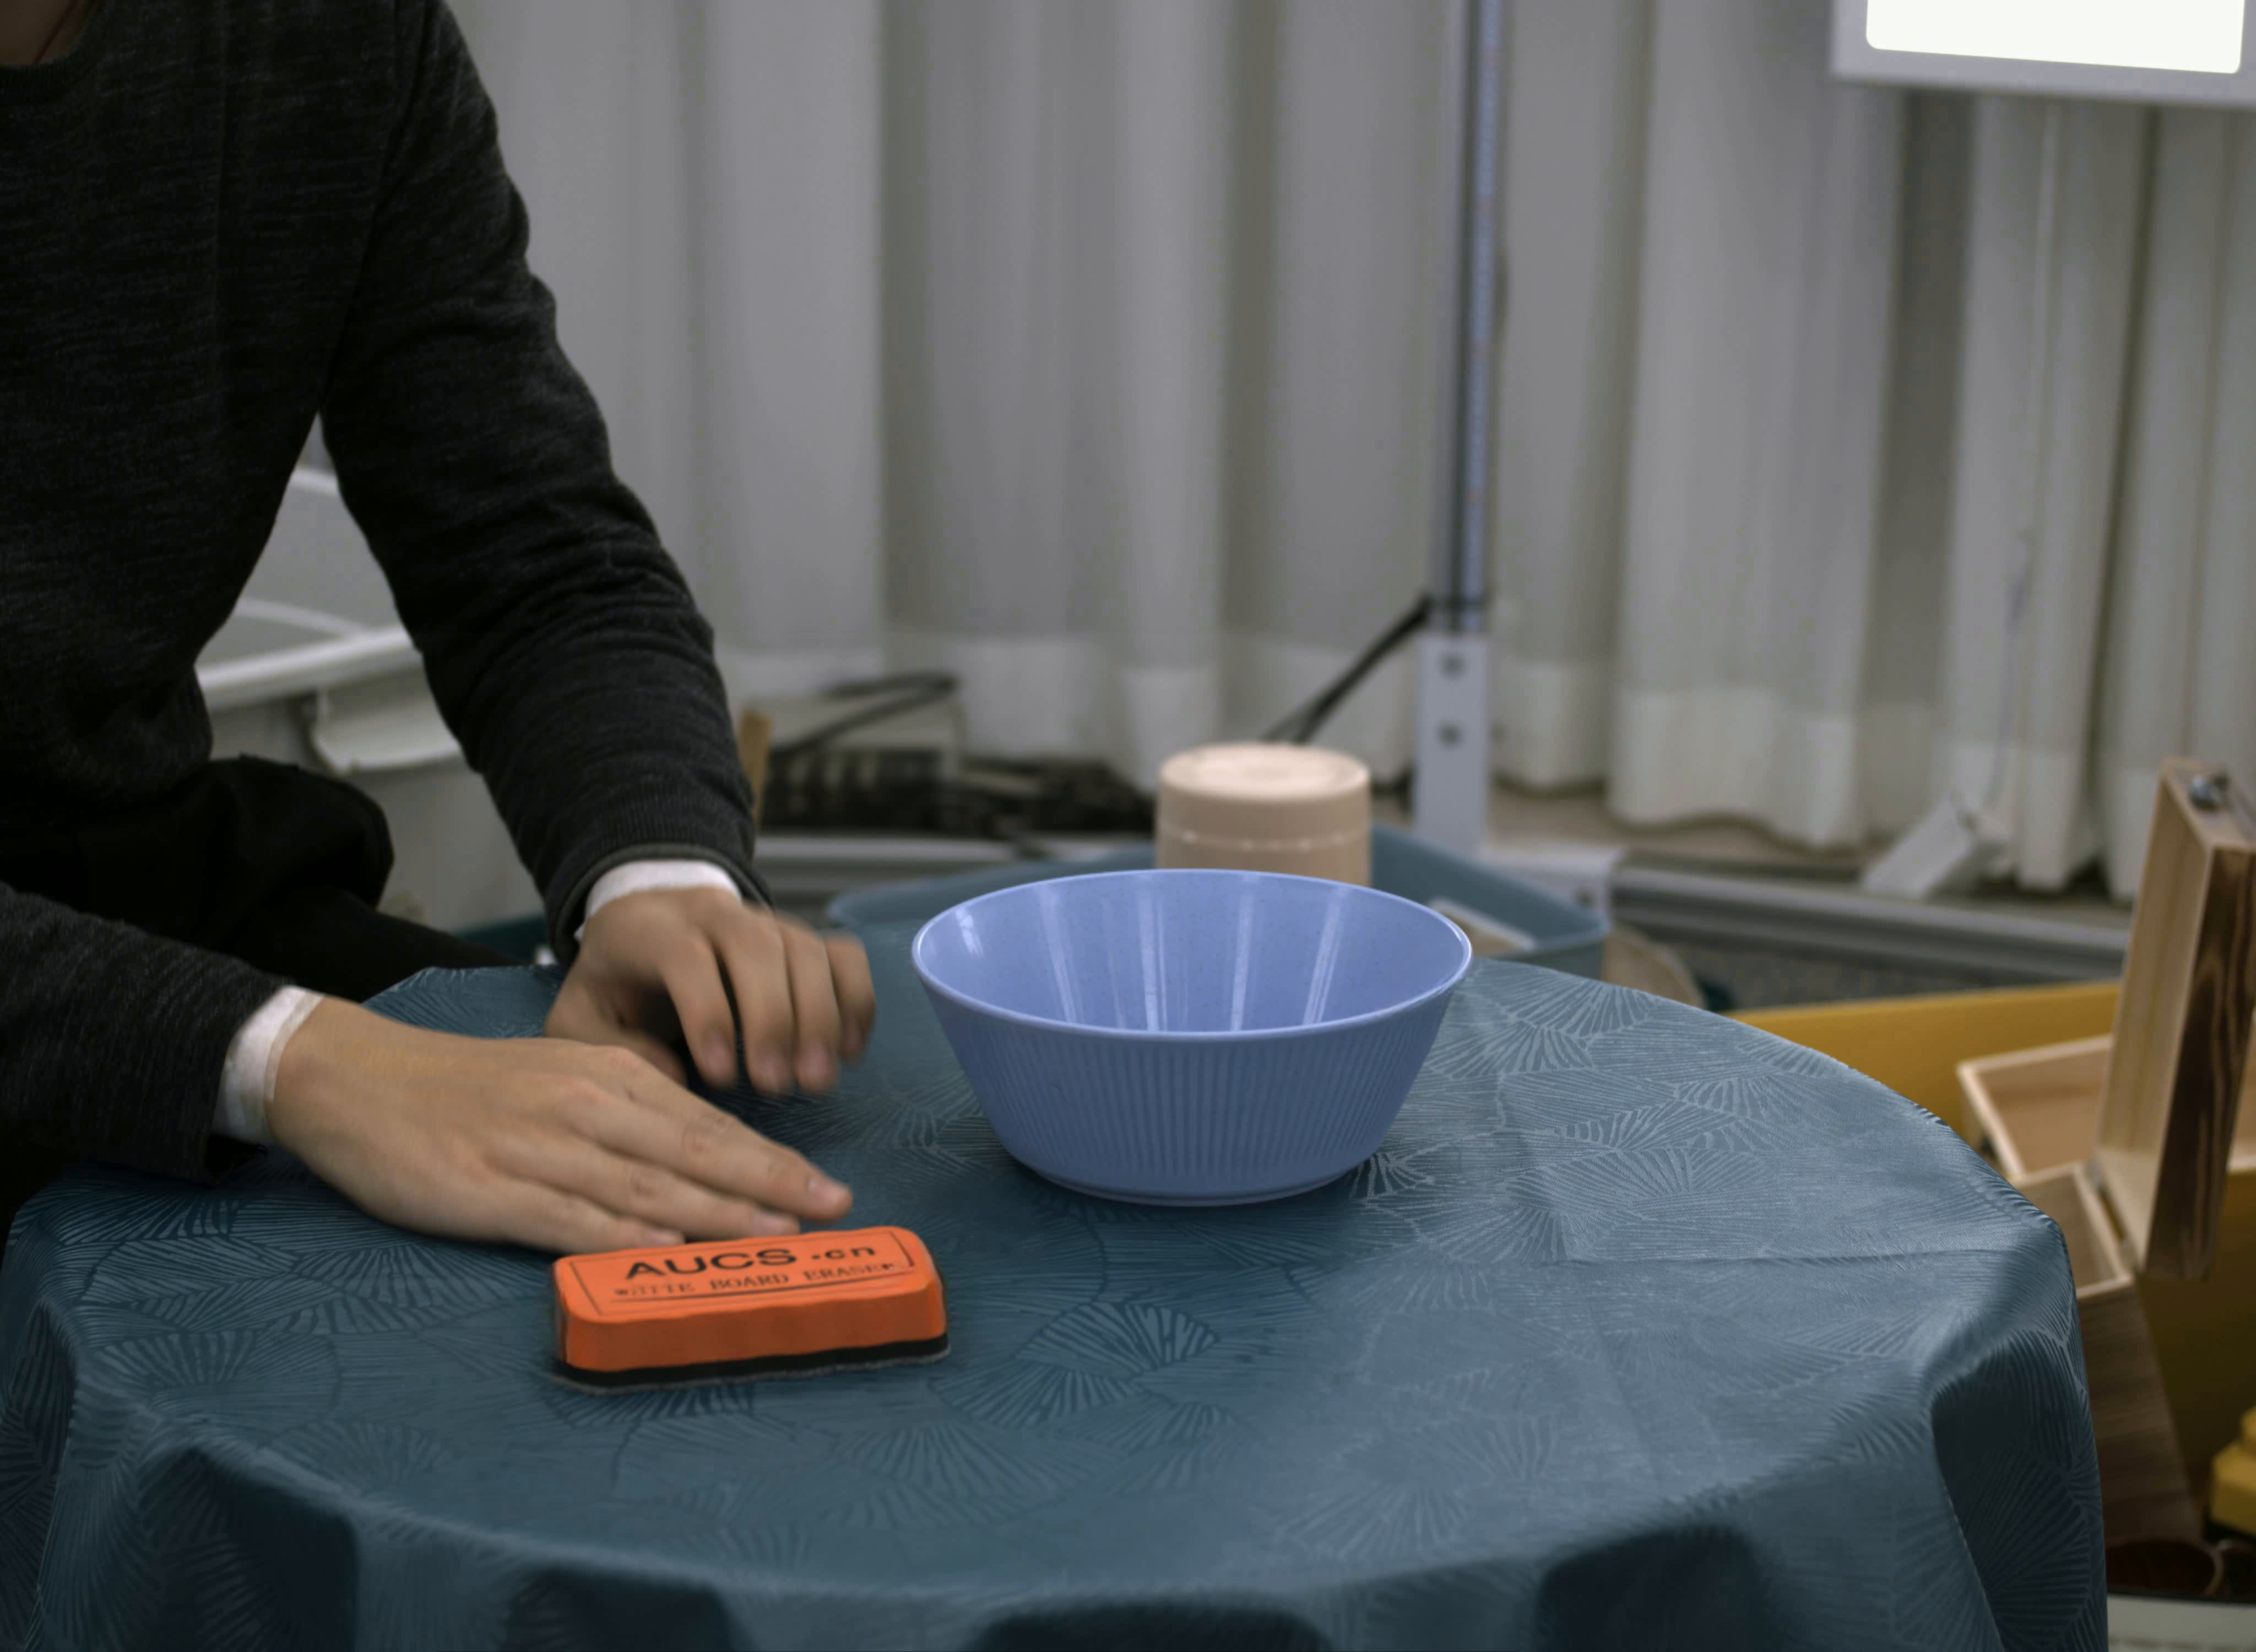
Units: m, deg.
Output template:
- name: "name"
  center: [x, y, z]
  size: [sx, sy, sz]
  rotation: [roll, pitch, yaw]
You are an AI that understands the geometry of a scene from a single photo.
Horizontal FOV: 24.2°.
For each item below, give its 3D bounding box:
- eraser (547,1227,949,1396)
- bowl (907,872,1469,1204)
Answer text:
- name: "eraser"
  center: [-0.107, 0.136, 1.486]
  size: [0.108, 0.023, 0.058]
  rotation: [-5, 17, -16]
- name: "bowl"
  center: [0.019, 0.069, 1.649]
  size: [0.175, 0.071, 0.175]
  rotation: [0, 16, 0]
